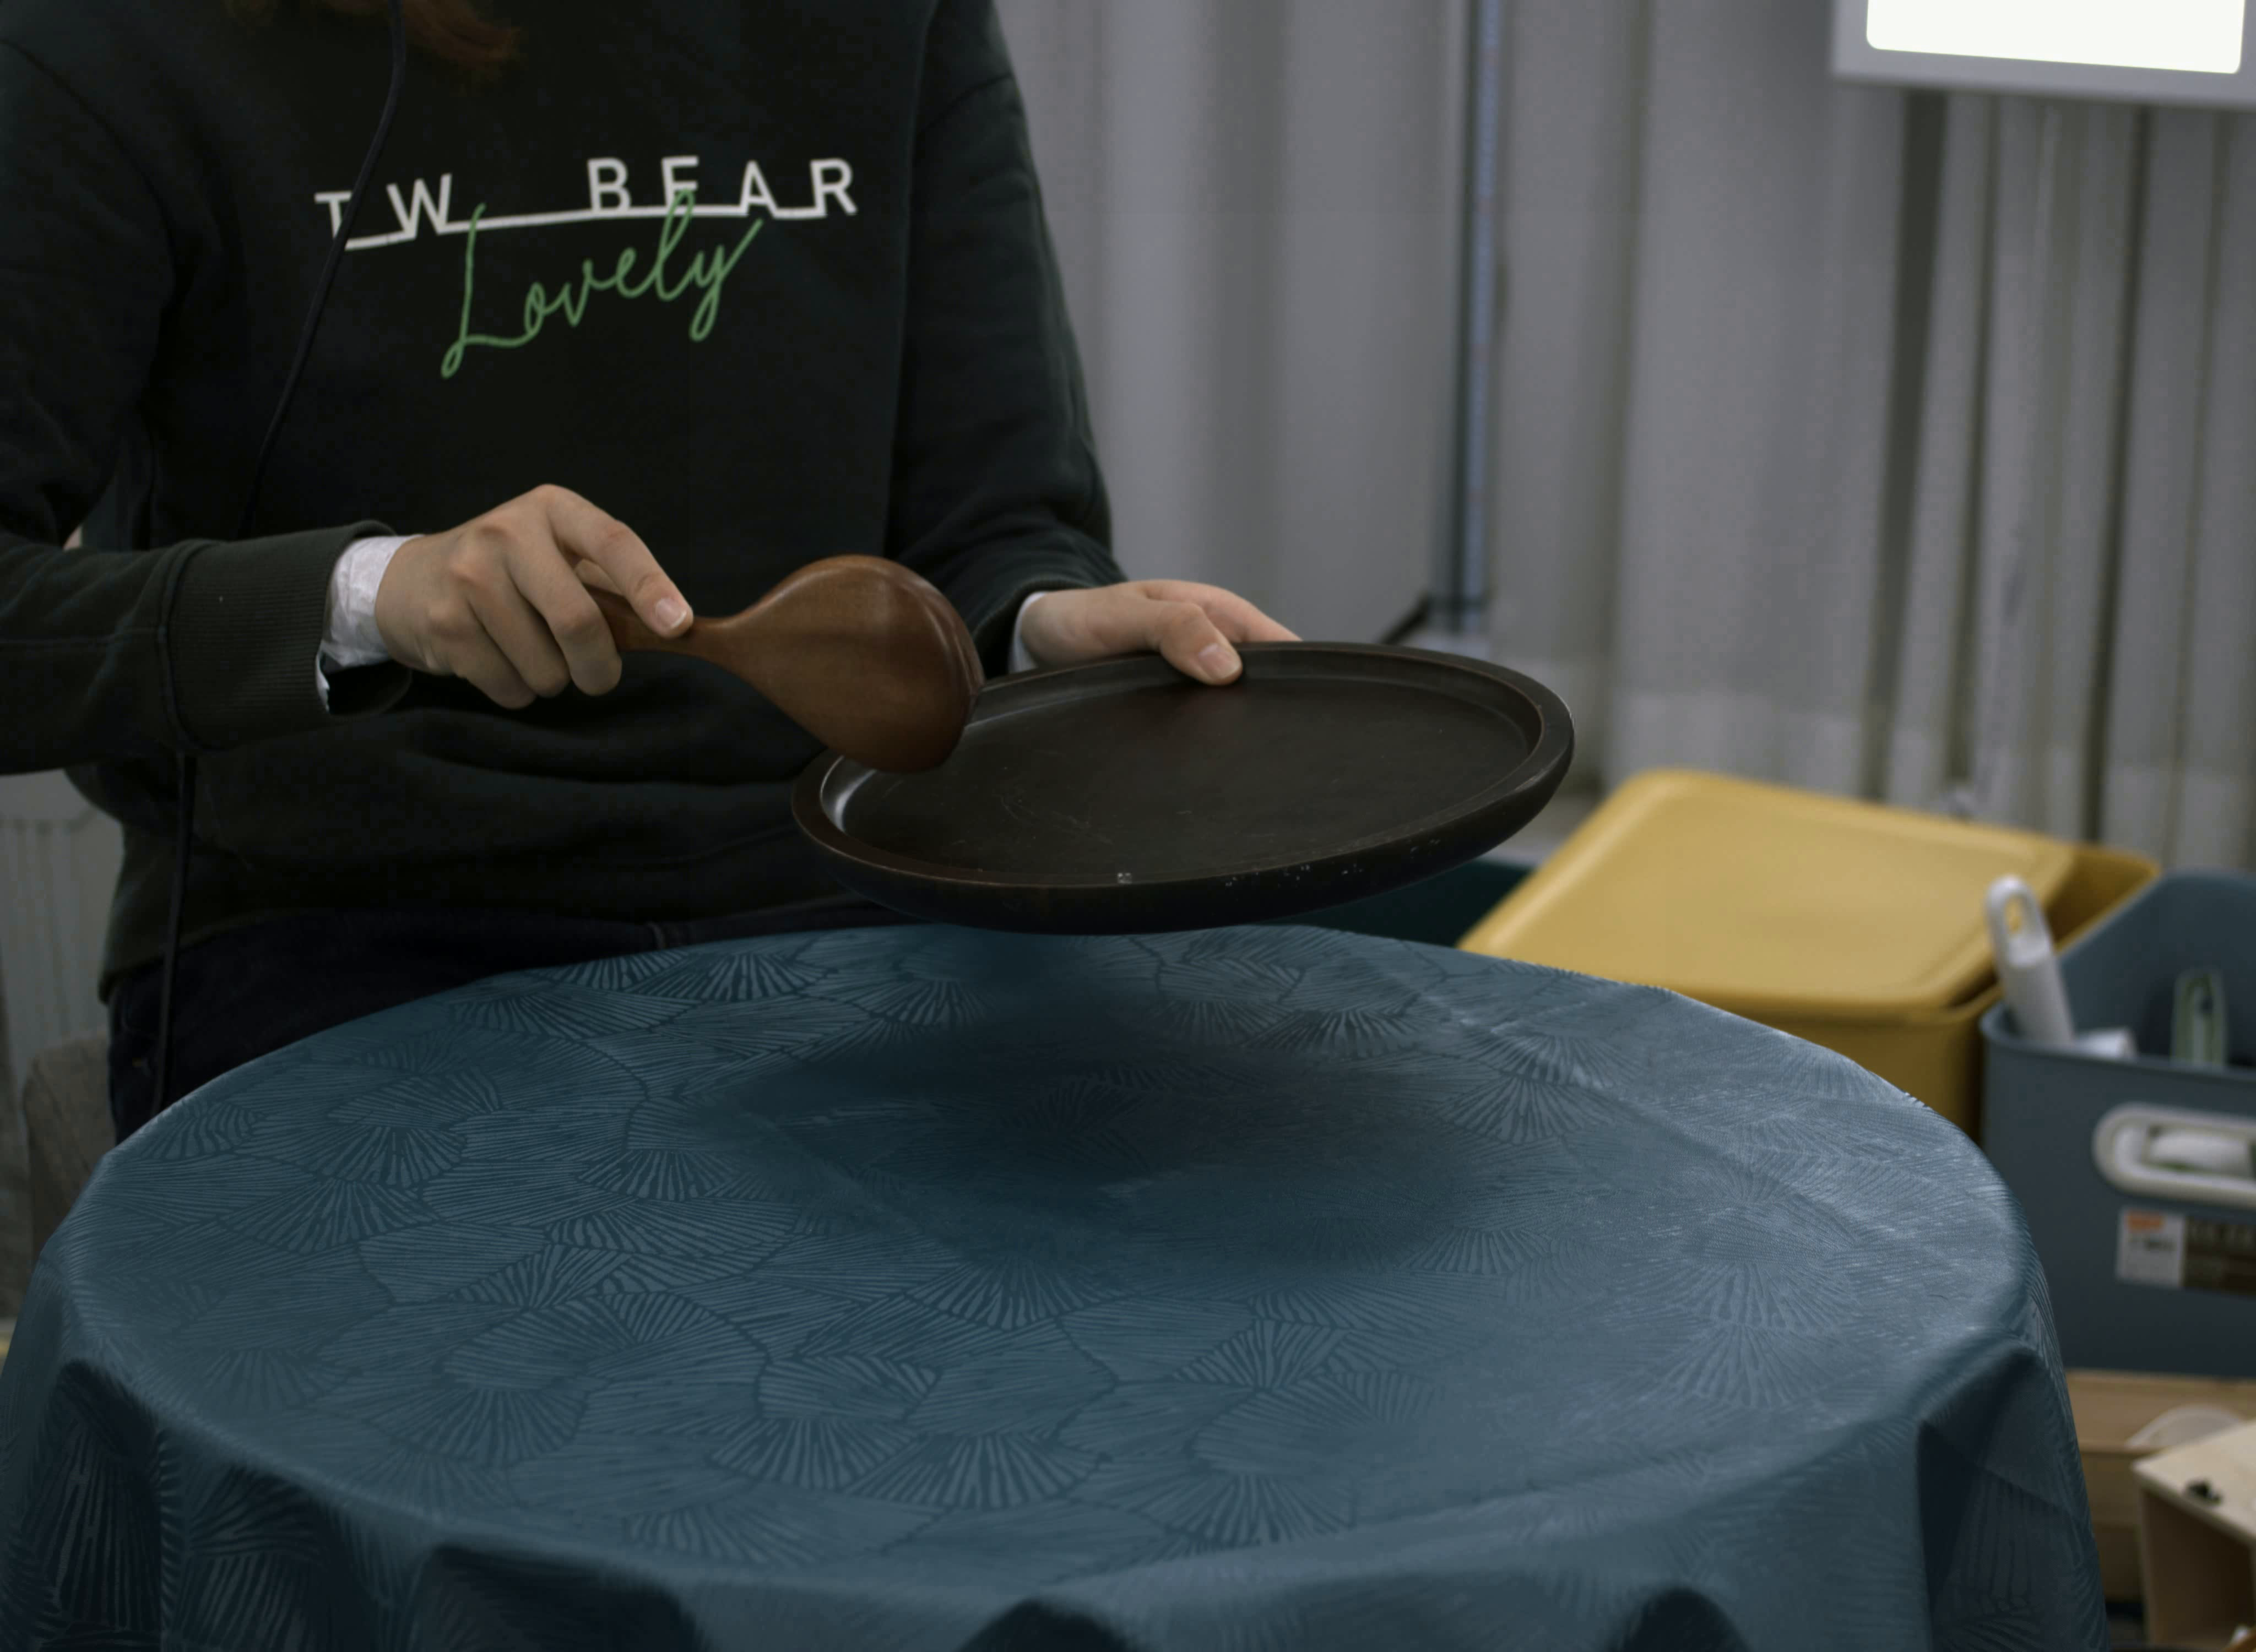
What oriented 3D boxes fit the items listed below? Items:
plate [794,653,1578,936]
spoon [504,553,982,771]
[{"bbox_3d":[0.019,-0.013,1.694,0.254,0.029,0.253,-4,19,2],"label":"plate"},{"bbox_3d":[-0.130,-0.061,1.723,0.213,0.076,0.017,12,31,40],"label":"spoon"}]
